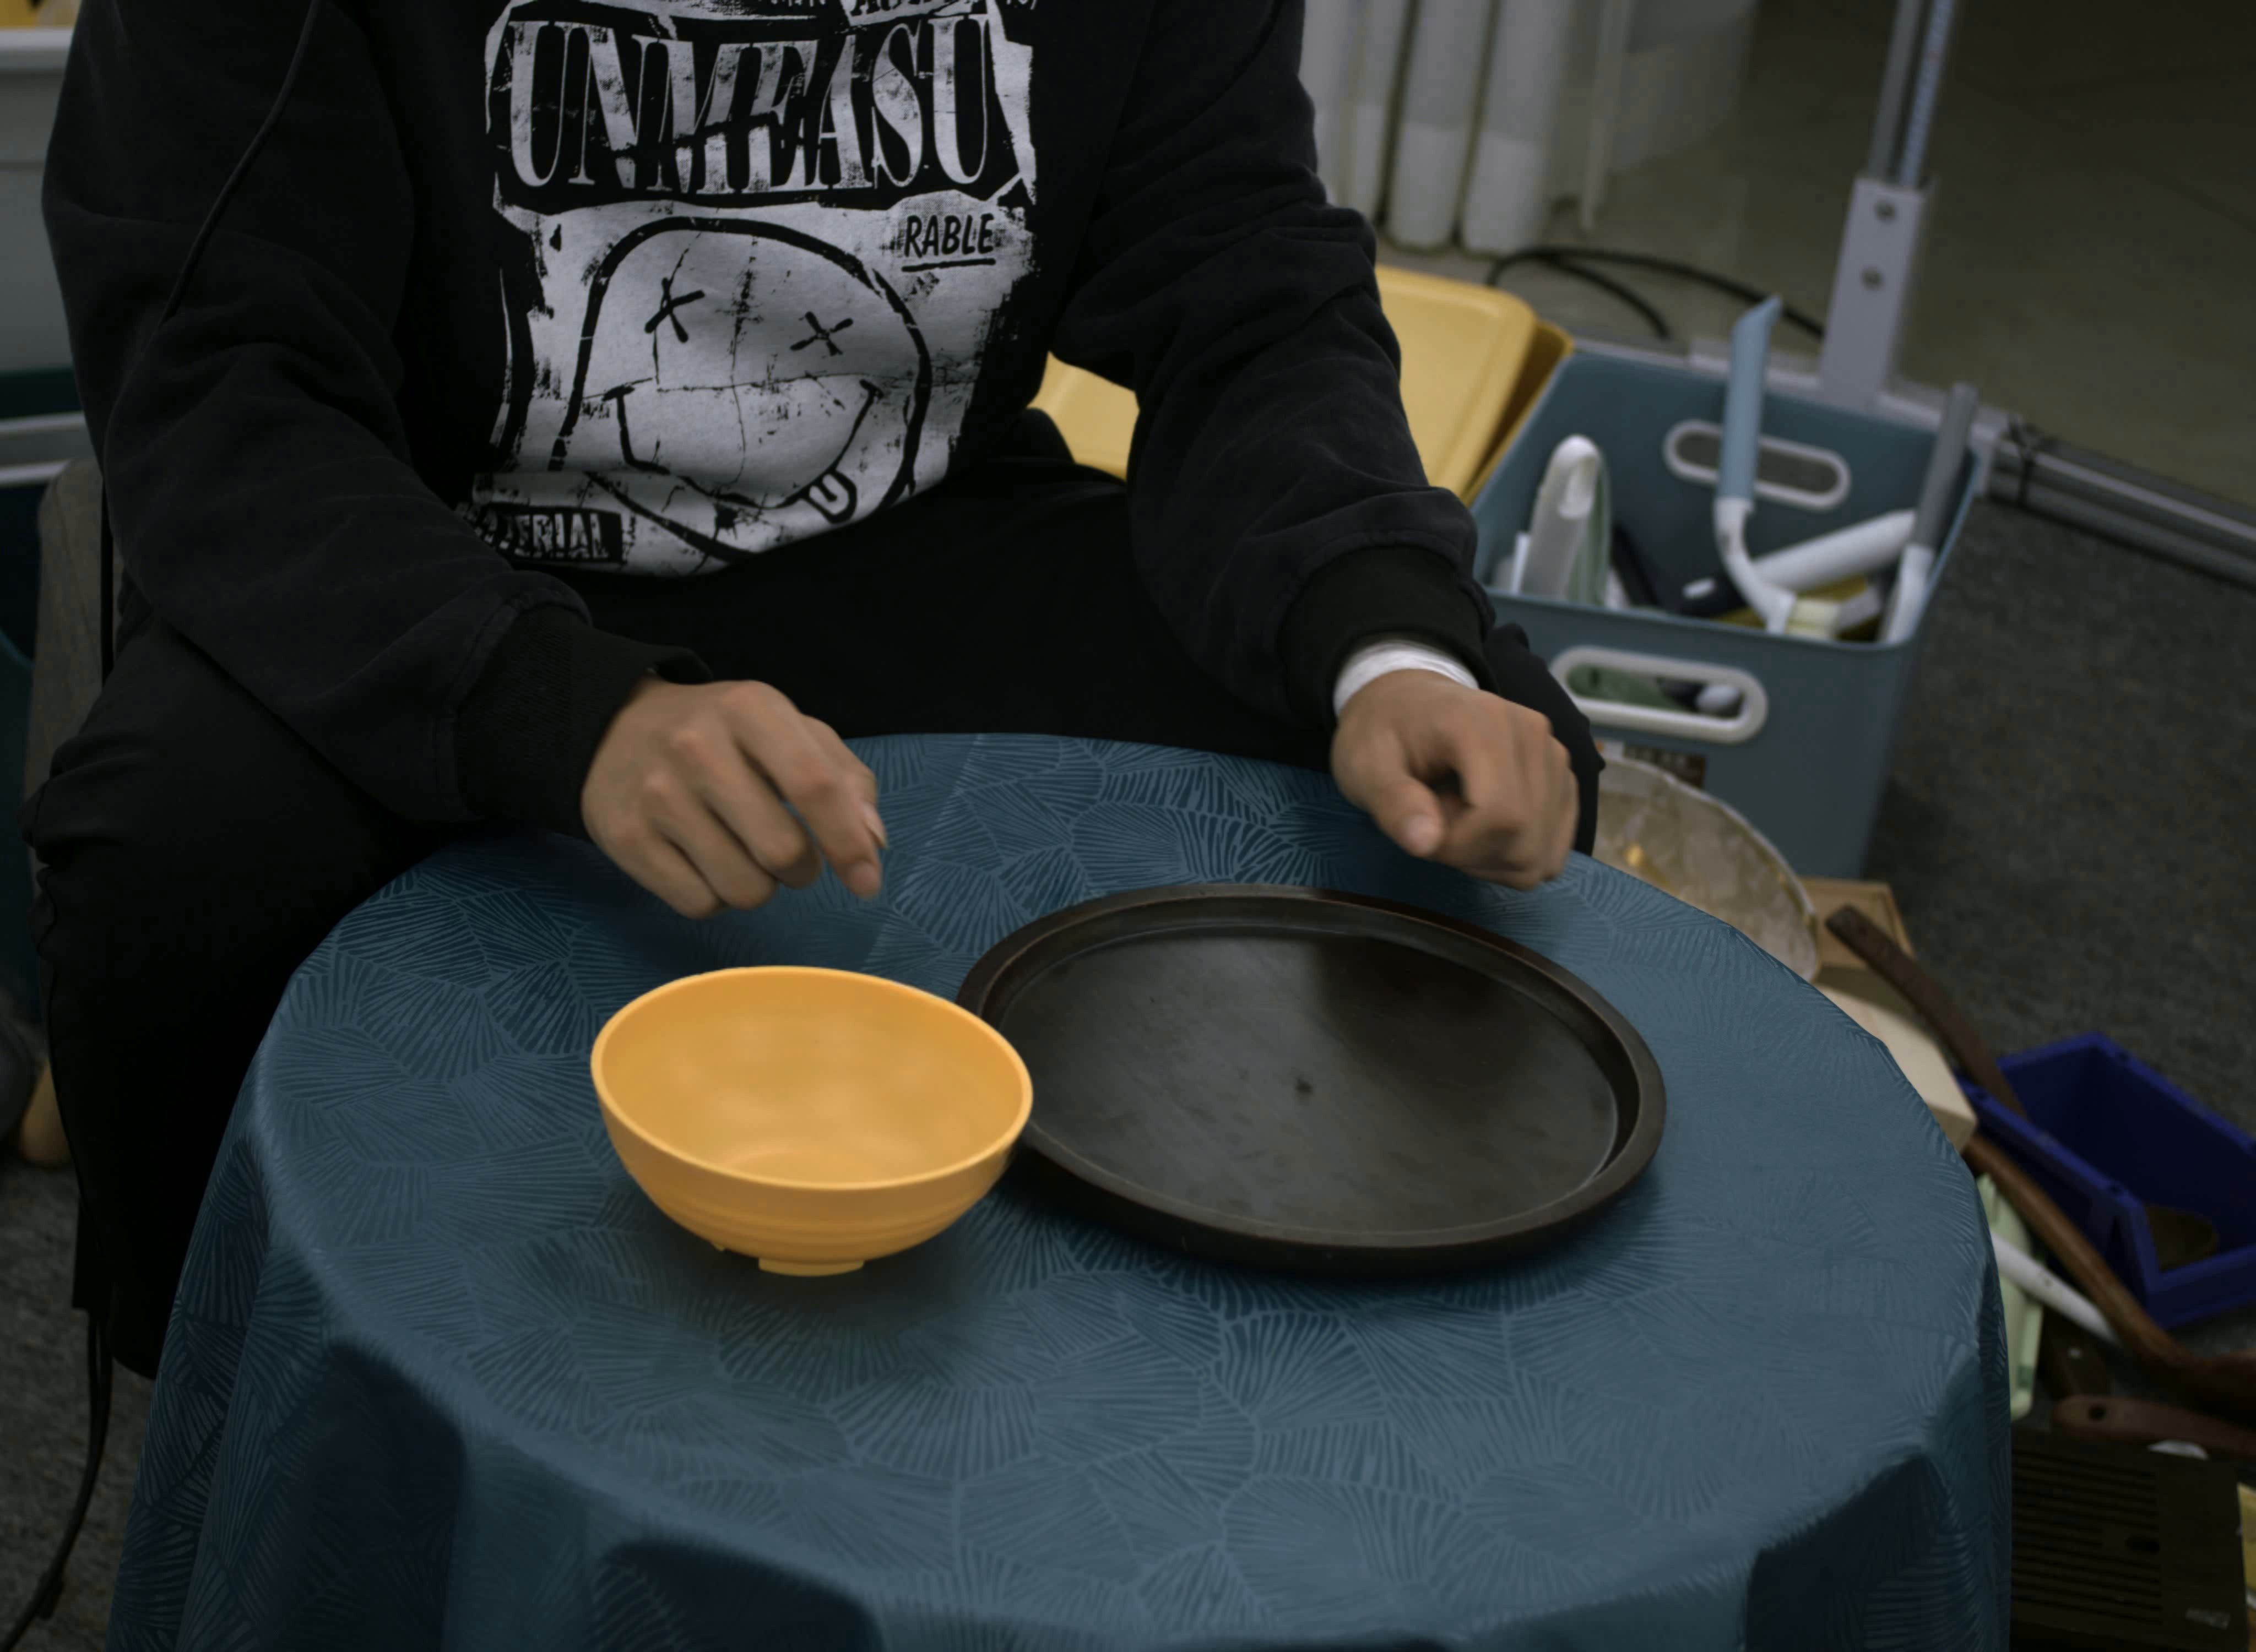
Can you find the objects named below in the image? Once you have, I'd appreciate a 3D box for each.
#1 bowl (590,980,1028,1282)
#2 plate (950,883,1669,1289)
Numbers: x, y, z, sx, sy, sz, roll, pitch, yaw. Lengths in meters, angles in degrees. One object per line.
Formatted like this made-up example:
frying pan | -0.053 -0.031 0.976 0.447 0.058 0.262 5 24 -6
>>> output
bowl | -0.107 0.108 1.746 0.145 0.060 0.146 6 24 -3
plate | 0.063 0.089 1.859 0.254 0.029 0.256 3 27 -2
